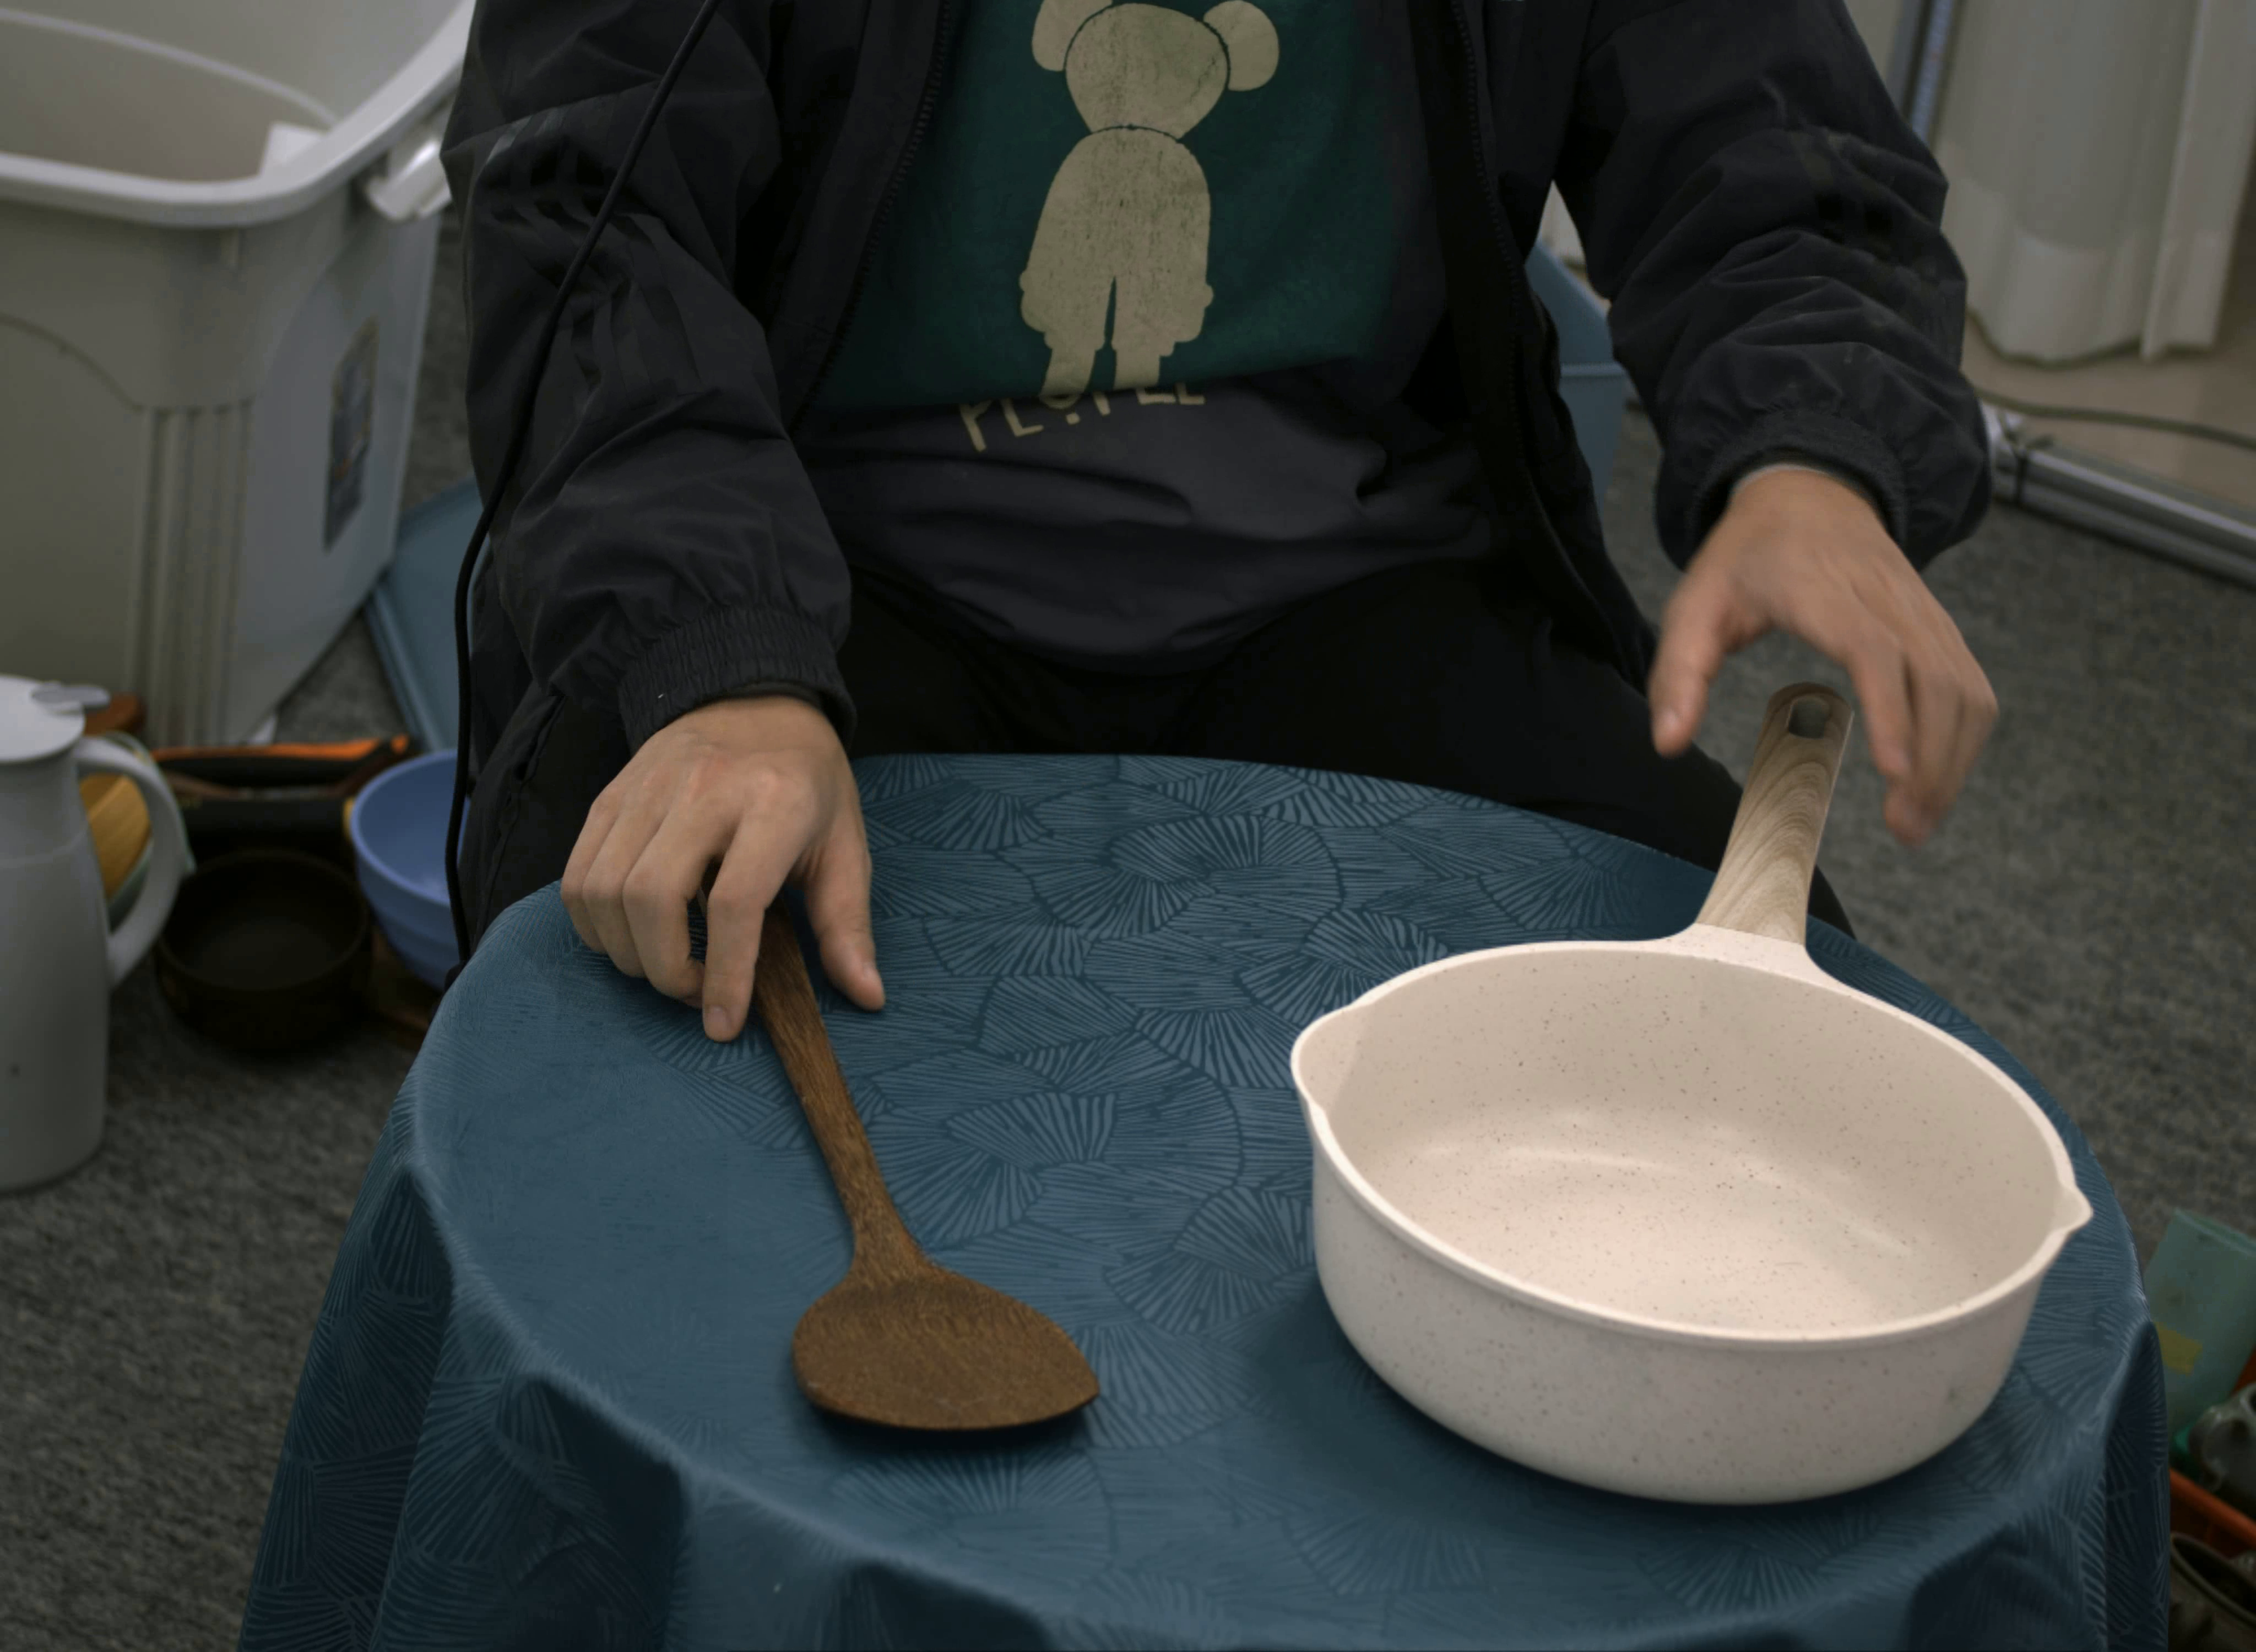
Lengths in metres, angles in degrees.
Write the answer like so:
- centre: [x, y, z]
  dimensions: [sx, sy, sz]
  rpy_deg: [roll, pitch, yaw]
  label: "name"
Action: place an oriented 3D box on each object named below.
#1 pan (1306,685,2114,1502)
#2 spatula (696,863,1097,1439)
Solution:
- centre: [0.206, 0.086, 1.813]
  dimensions: [0.263, 0.101, 0.436]
  rpy_deg: [10, 27, 10]
  label: "pan"
- centre: [-0.099, 0.101, 1.811]
  dimensions: [0.095, 0.016, 0.389]
  rpy_deg: [-1, 28, -16]
  label: "spatula"
